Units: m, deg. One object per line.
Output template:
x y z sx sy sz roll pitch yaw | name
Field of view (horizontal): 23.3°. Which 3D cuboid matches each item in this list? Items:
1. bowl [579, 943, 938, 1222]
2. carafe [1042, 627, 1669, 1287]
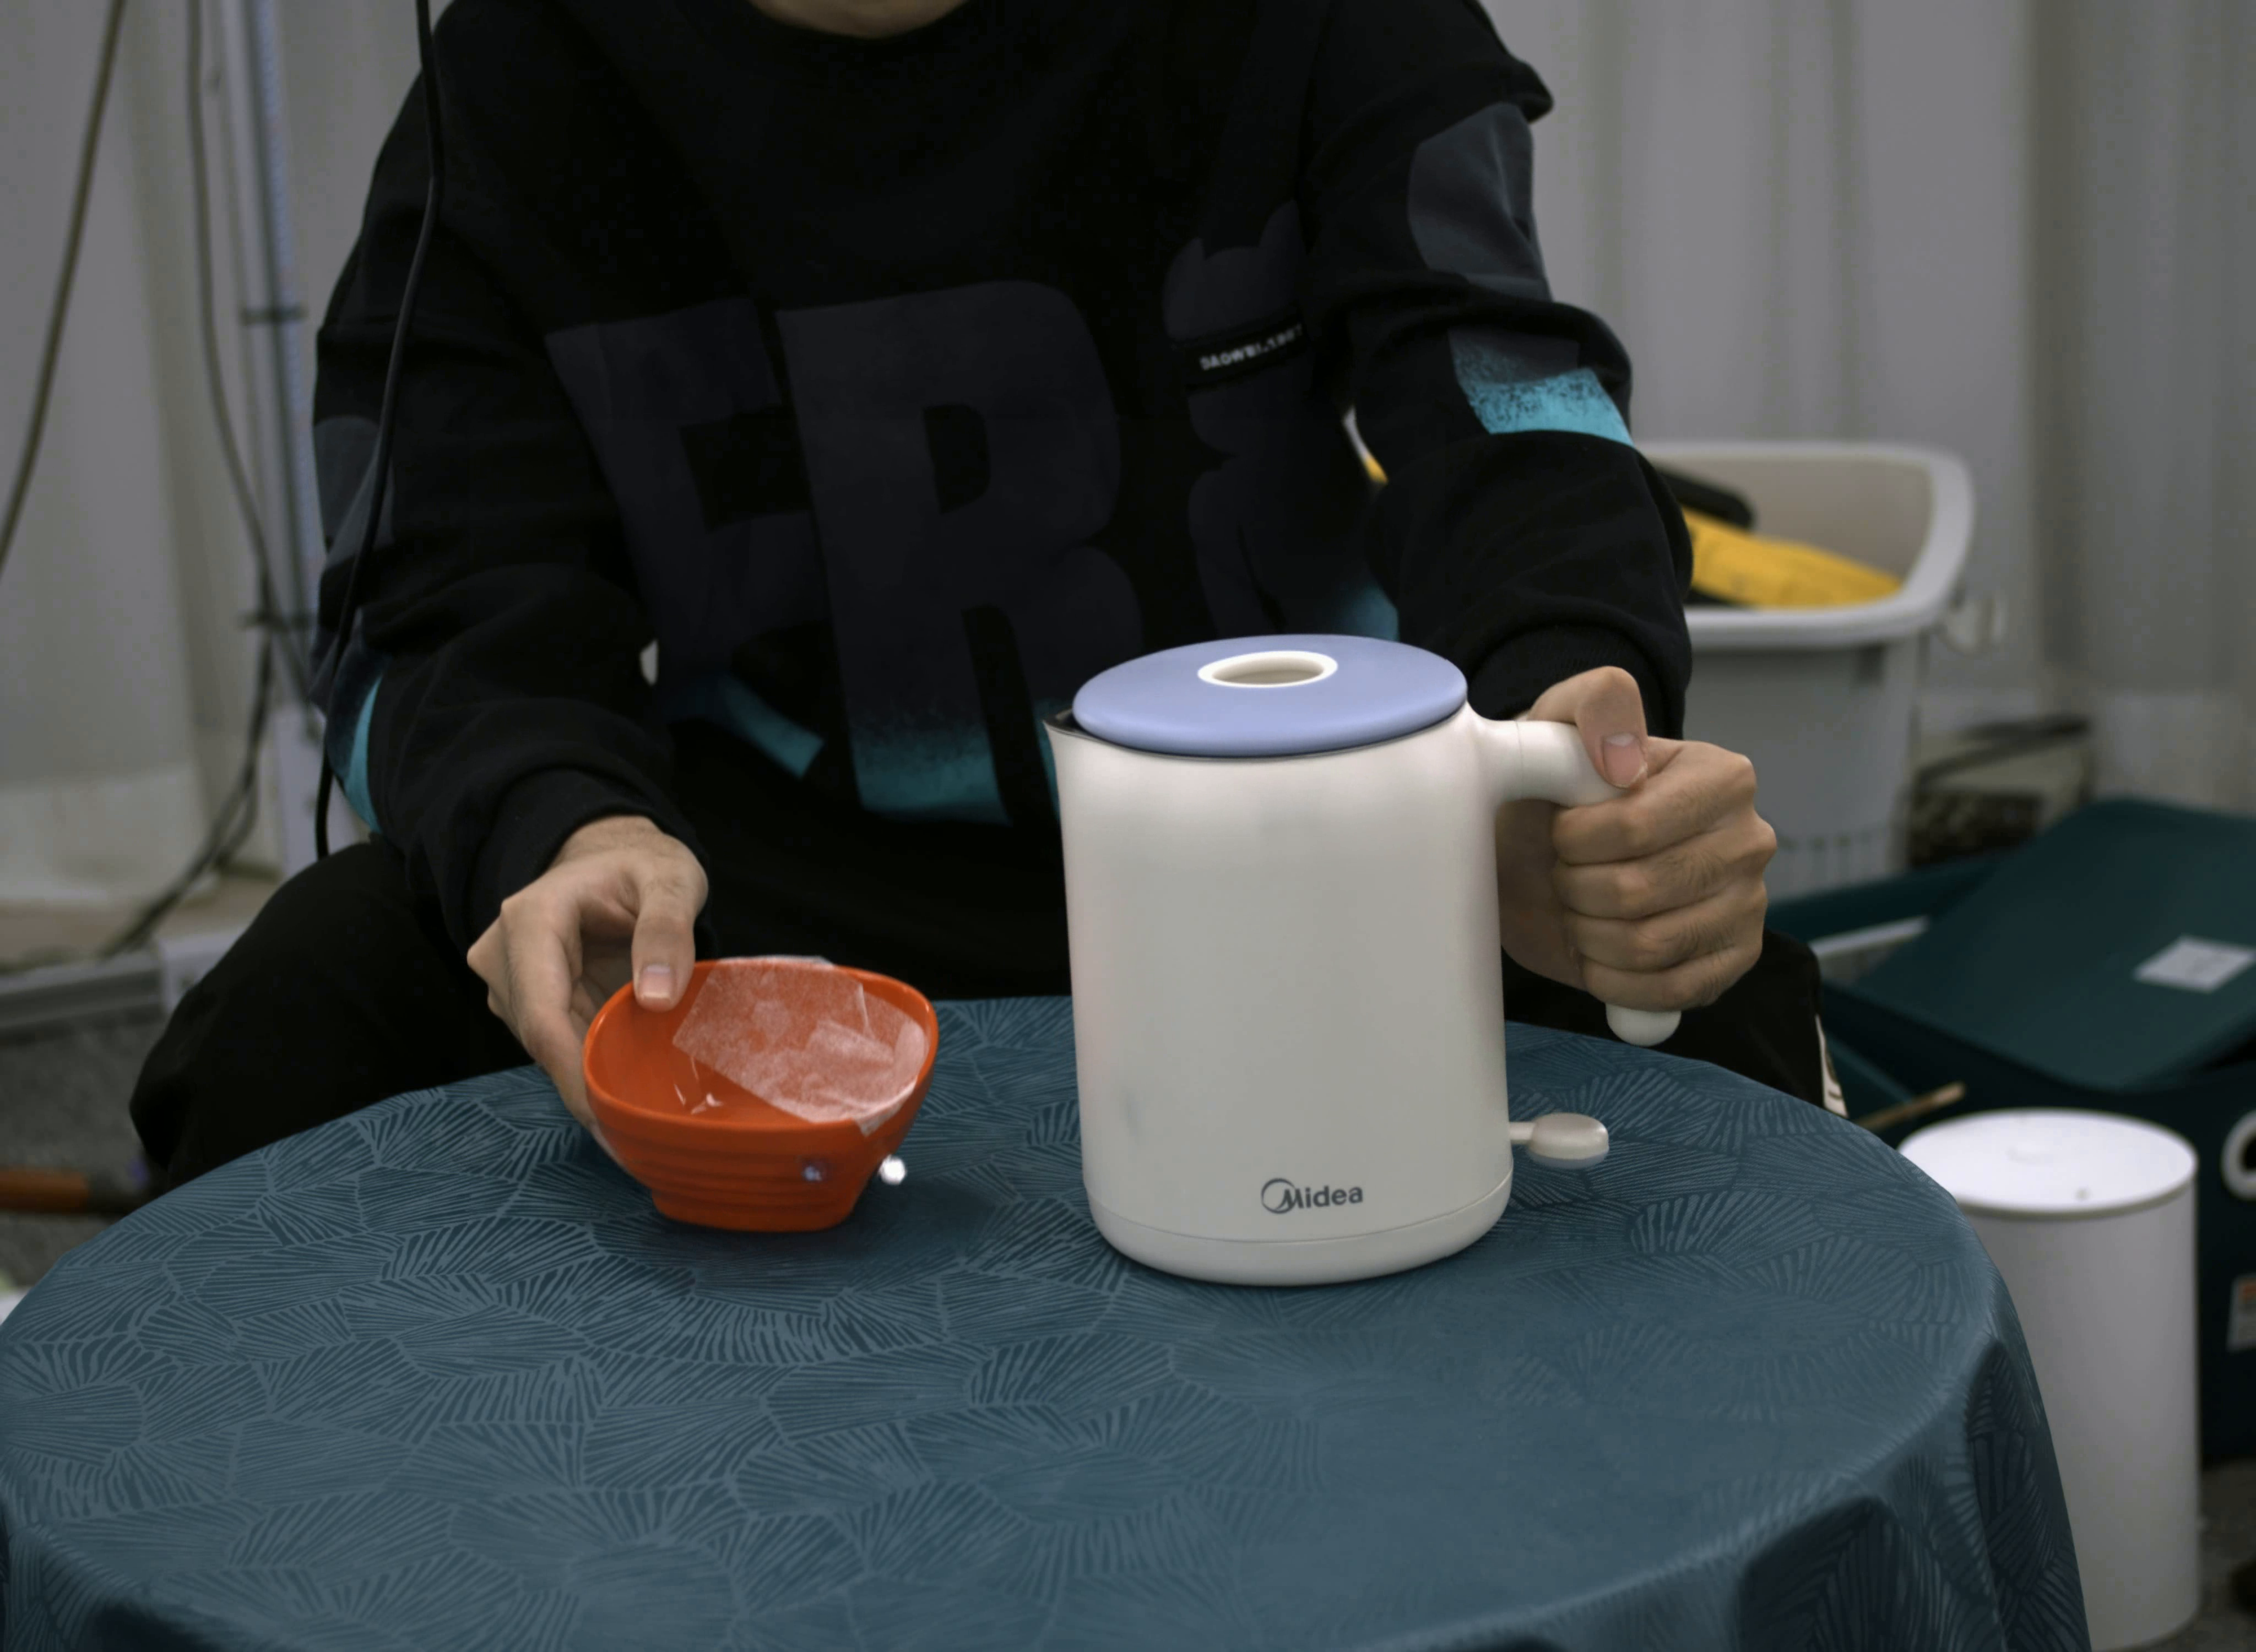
-0.114 0.084 1.708 0.118 0.051 0.120 -2 28 1 | bowl
0.070 0.037 1.657 0.190 0.181 0.133 -2 16 -4 | carafe
